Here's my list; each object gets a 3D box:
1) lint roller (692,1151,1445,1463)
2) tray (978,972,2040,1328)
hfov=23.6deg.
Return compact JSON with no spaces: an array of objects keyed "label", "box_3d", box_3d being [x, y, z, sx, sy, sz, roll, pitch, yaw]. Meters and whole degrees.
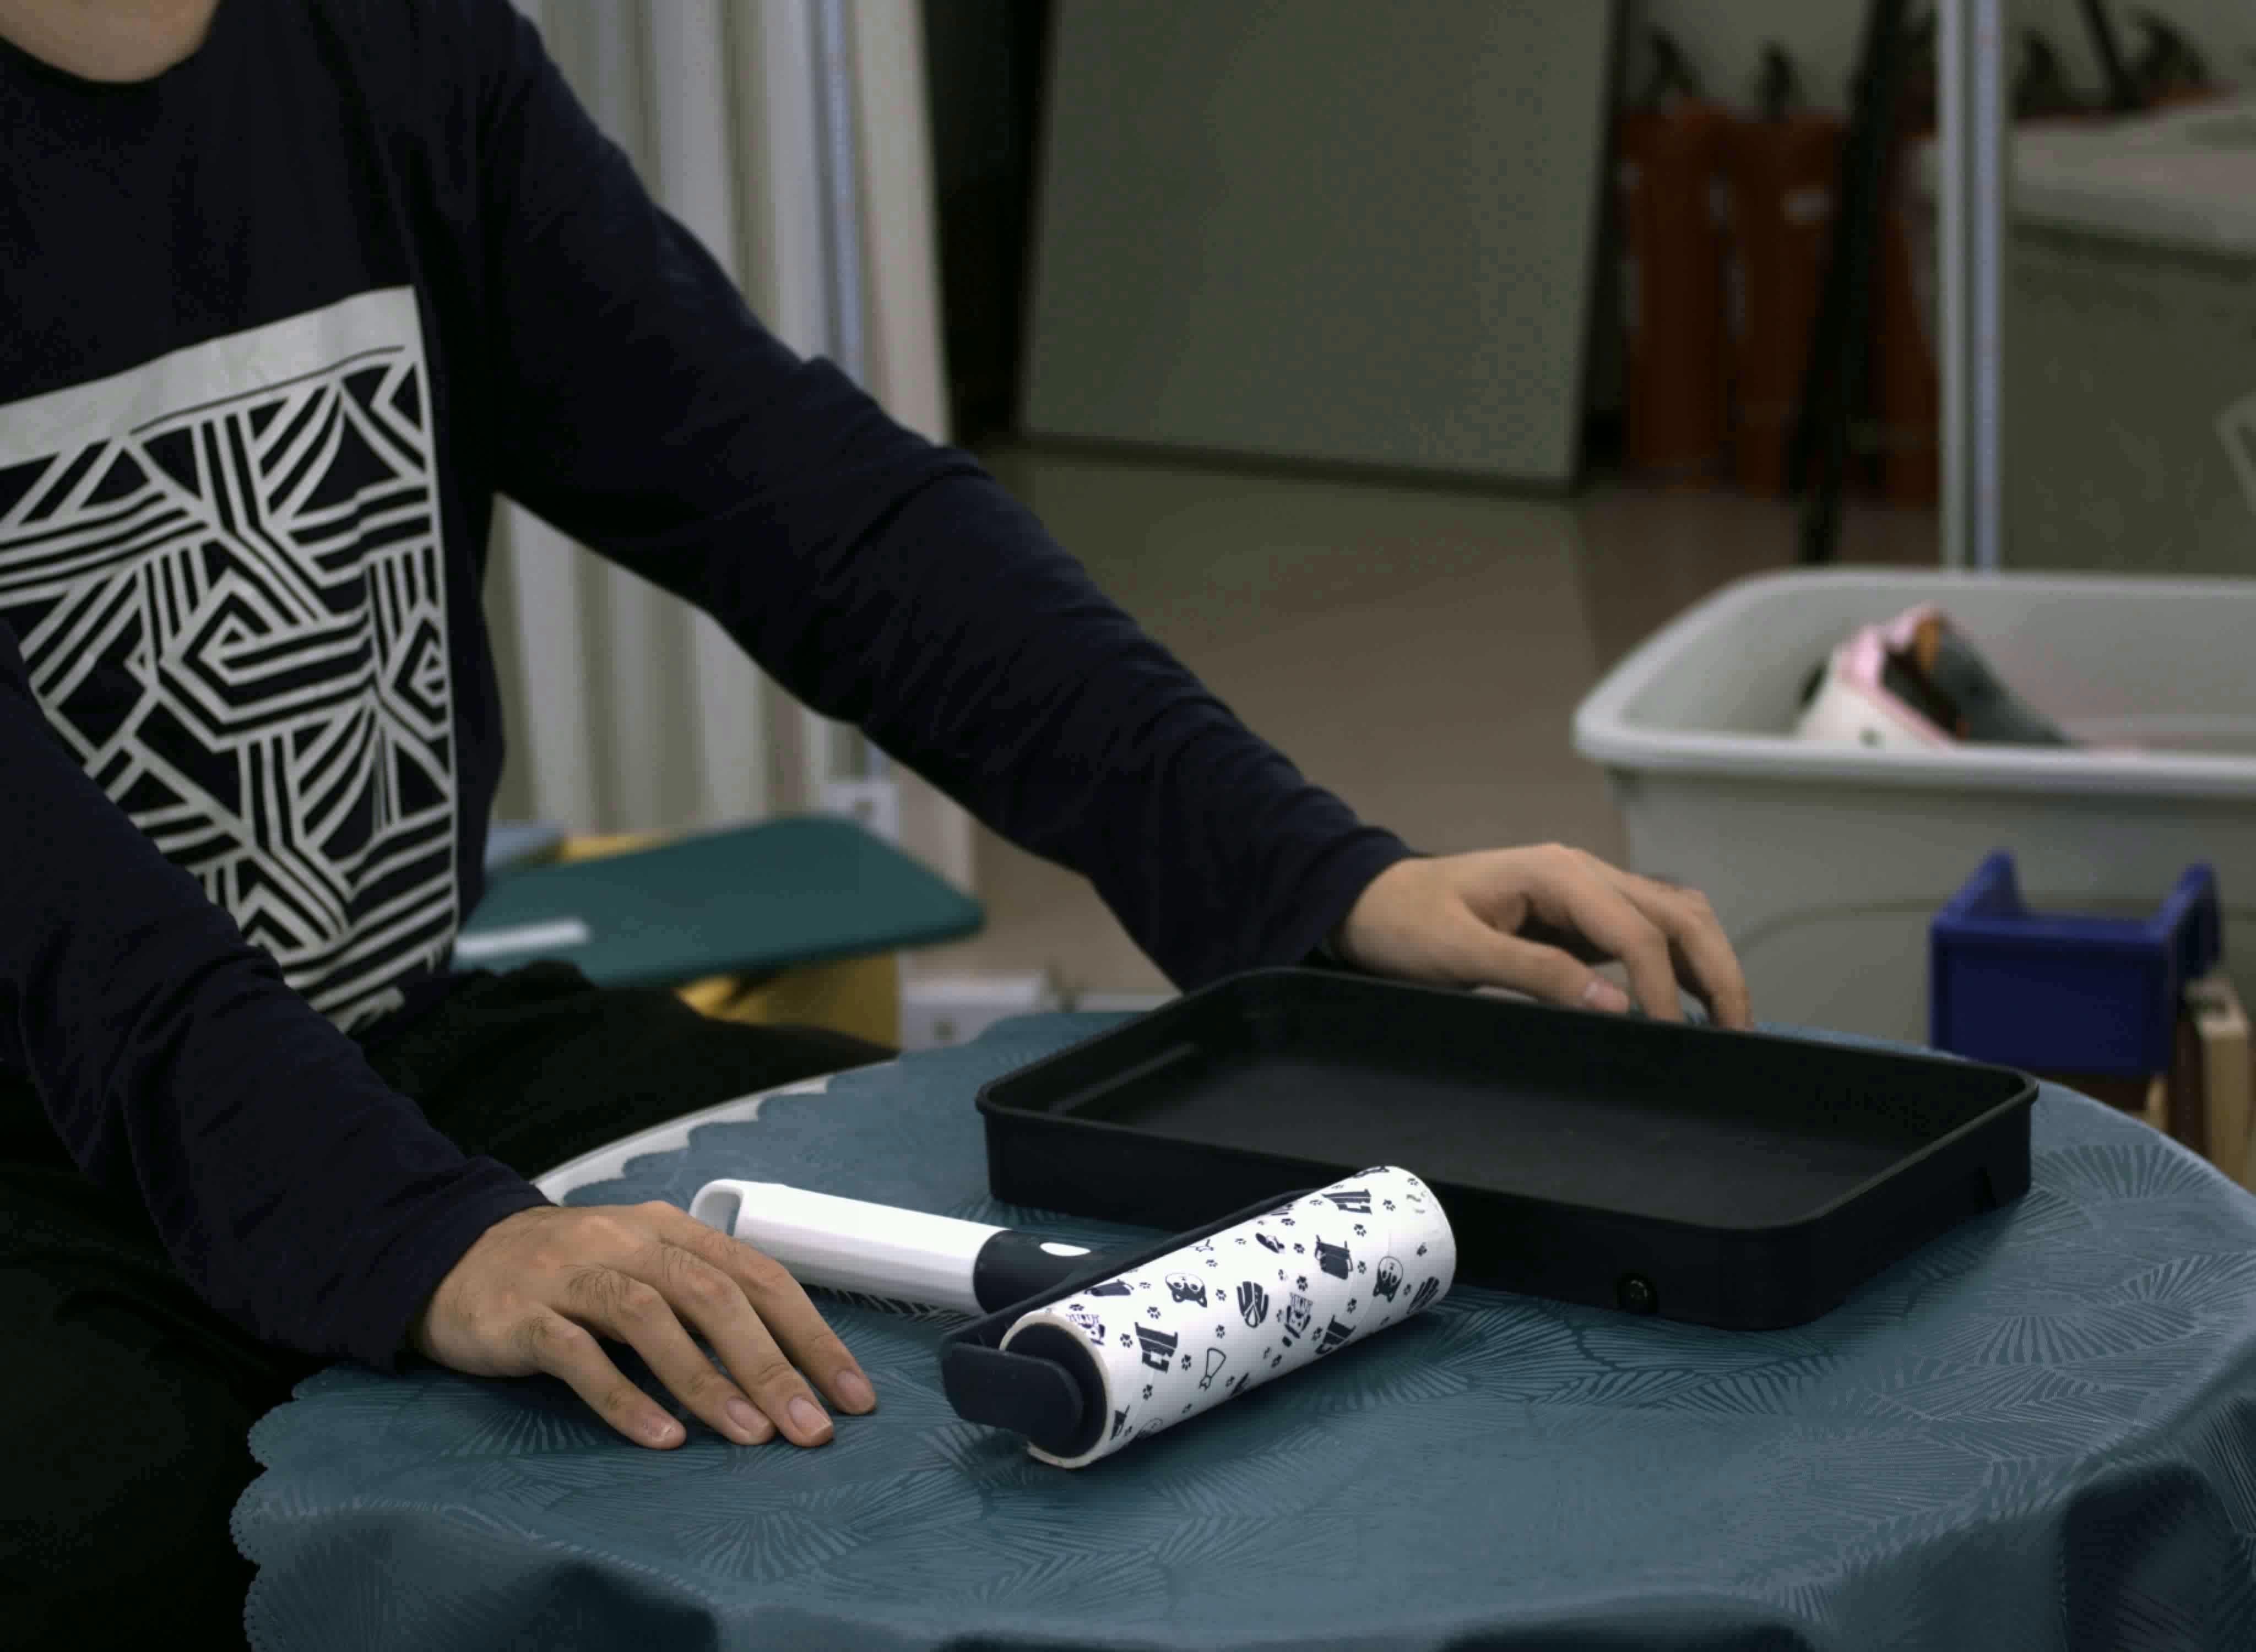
[{"label":"lint roller","box_3d":[-0.046,0.136,1.645,0.249,0.051,0.173,4,16,42]},{"label":"tray","box_3d":[0.121,0.101,1.748,0.320,0.037,0.181,7,17,38]}]
